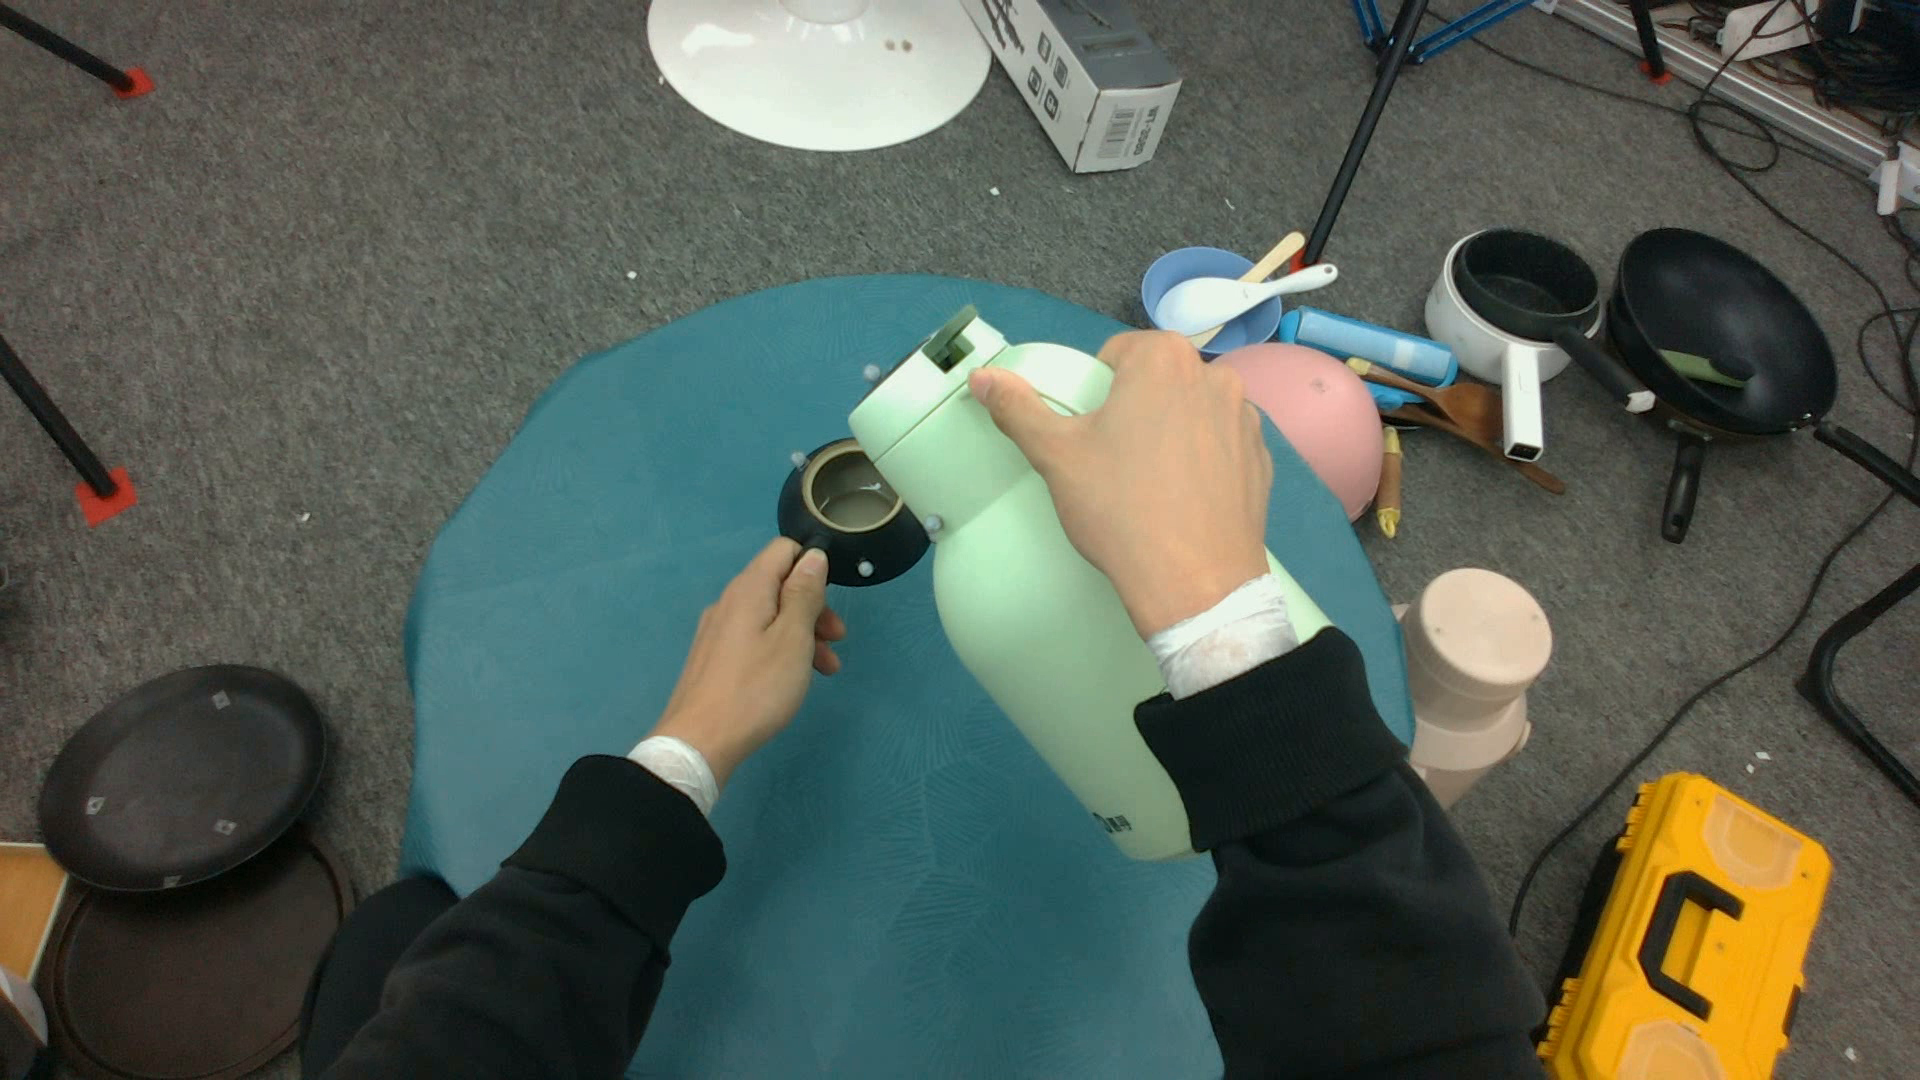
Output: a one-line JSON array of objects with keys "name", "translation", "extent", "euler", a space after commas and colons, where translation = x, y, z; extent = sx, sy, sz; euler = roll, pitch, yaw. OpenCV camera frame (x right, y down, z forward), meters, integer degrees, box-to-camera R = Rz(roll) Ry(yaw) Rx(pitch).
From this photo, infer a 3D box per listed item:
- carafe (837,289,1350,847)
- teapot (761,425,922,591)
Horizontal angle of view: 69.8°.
[{"name": "carafe", "translation": [0.058, 0.005, 0.627], "extent": [0.145, 0.186, 0.256], "euler": [-44, 99, -27]}, {"name": "teapot", "translation": [-0.066, -0.024, 0.769], "extent": [0.091, 0.053, 0.134], "euler": [26, 62, 13]}]
